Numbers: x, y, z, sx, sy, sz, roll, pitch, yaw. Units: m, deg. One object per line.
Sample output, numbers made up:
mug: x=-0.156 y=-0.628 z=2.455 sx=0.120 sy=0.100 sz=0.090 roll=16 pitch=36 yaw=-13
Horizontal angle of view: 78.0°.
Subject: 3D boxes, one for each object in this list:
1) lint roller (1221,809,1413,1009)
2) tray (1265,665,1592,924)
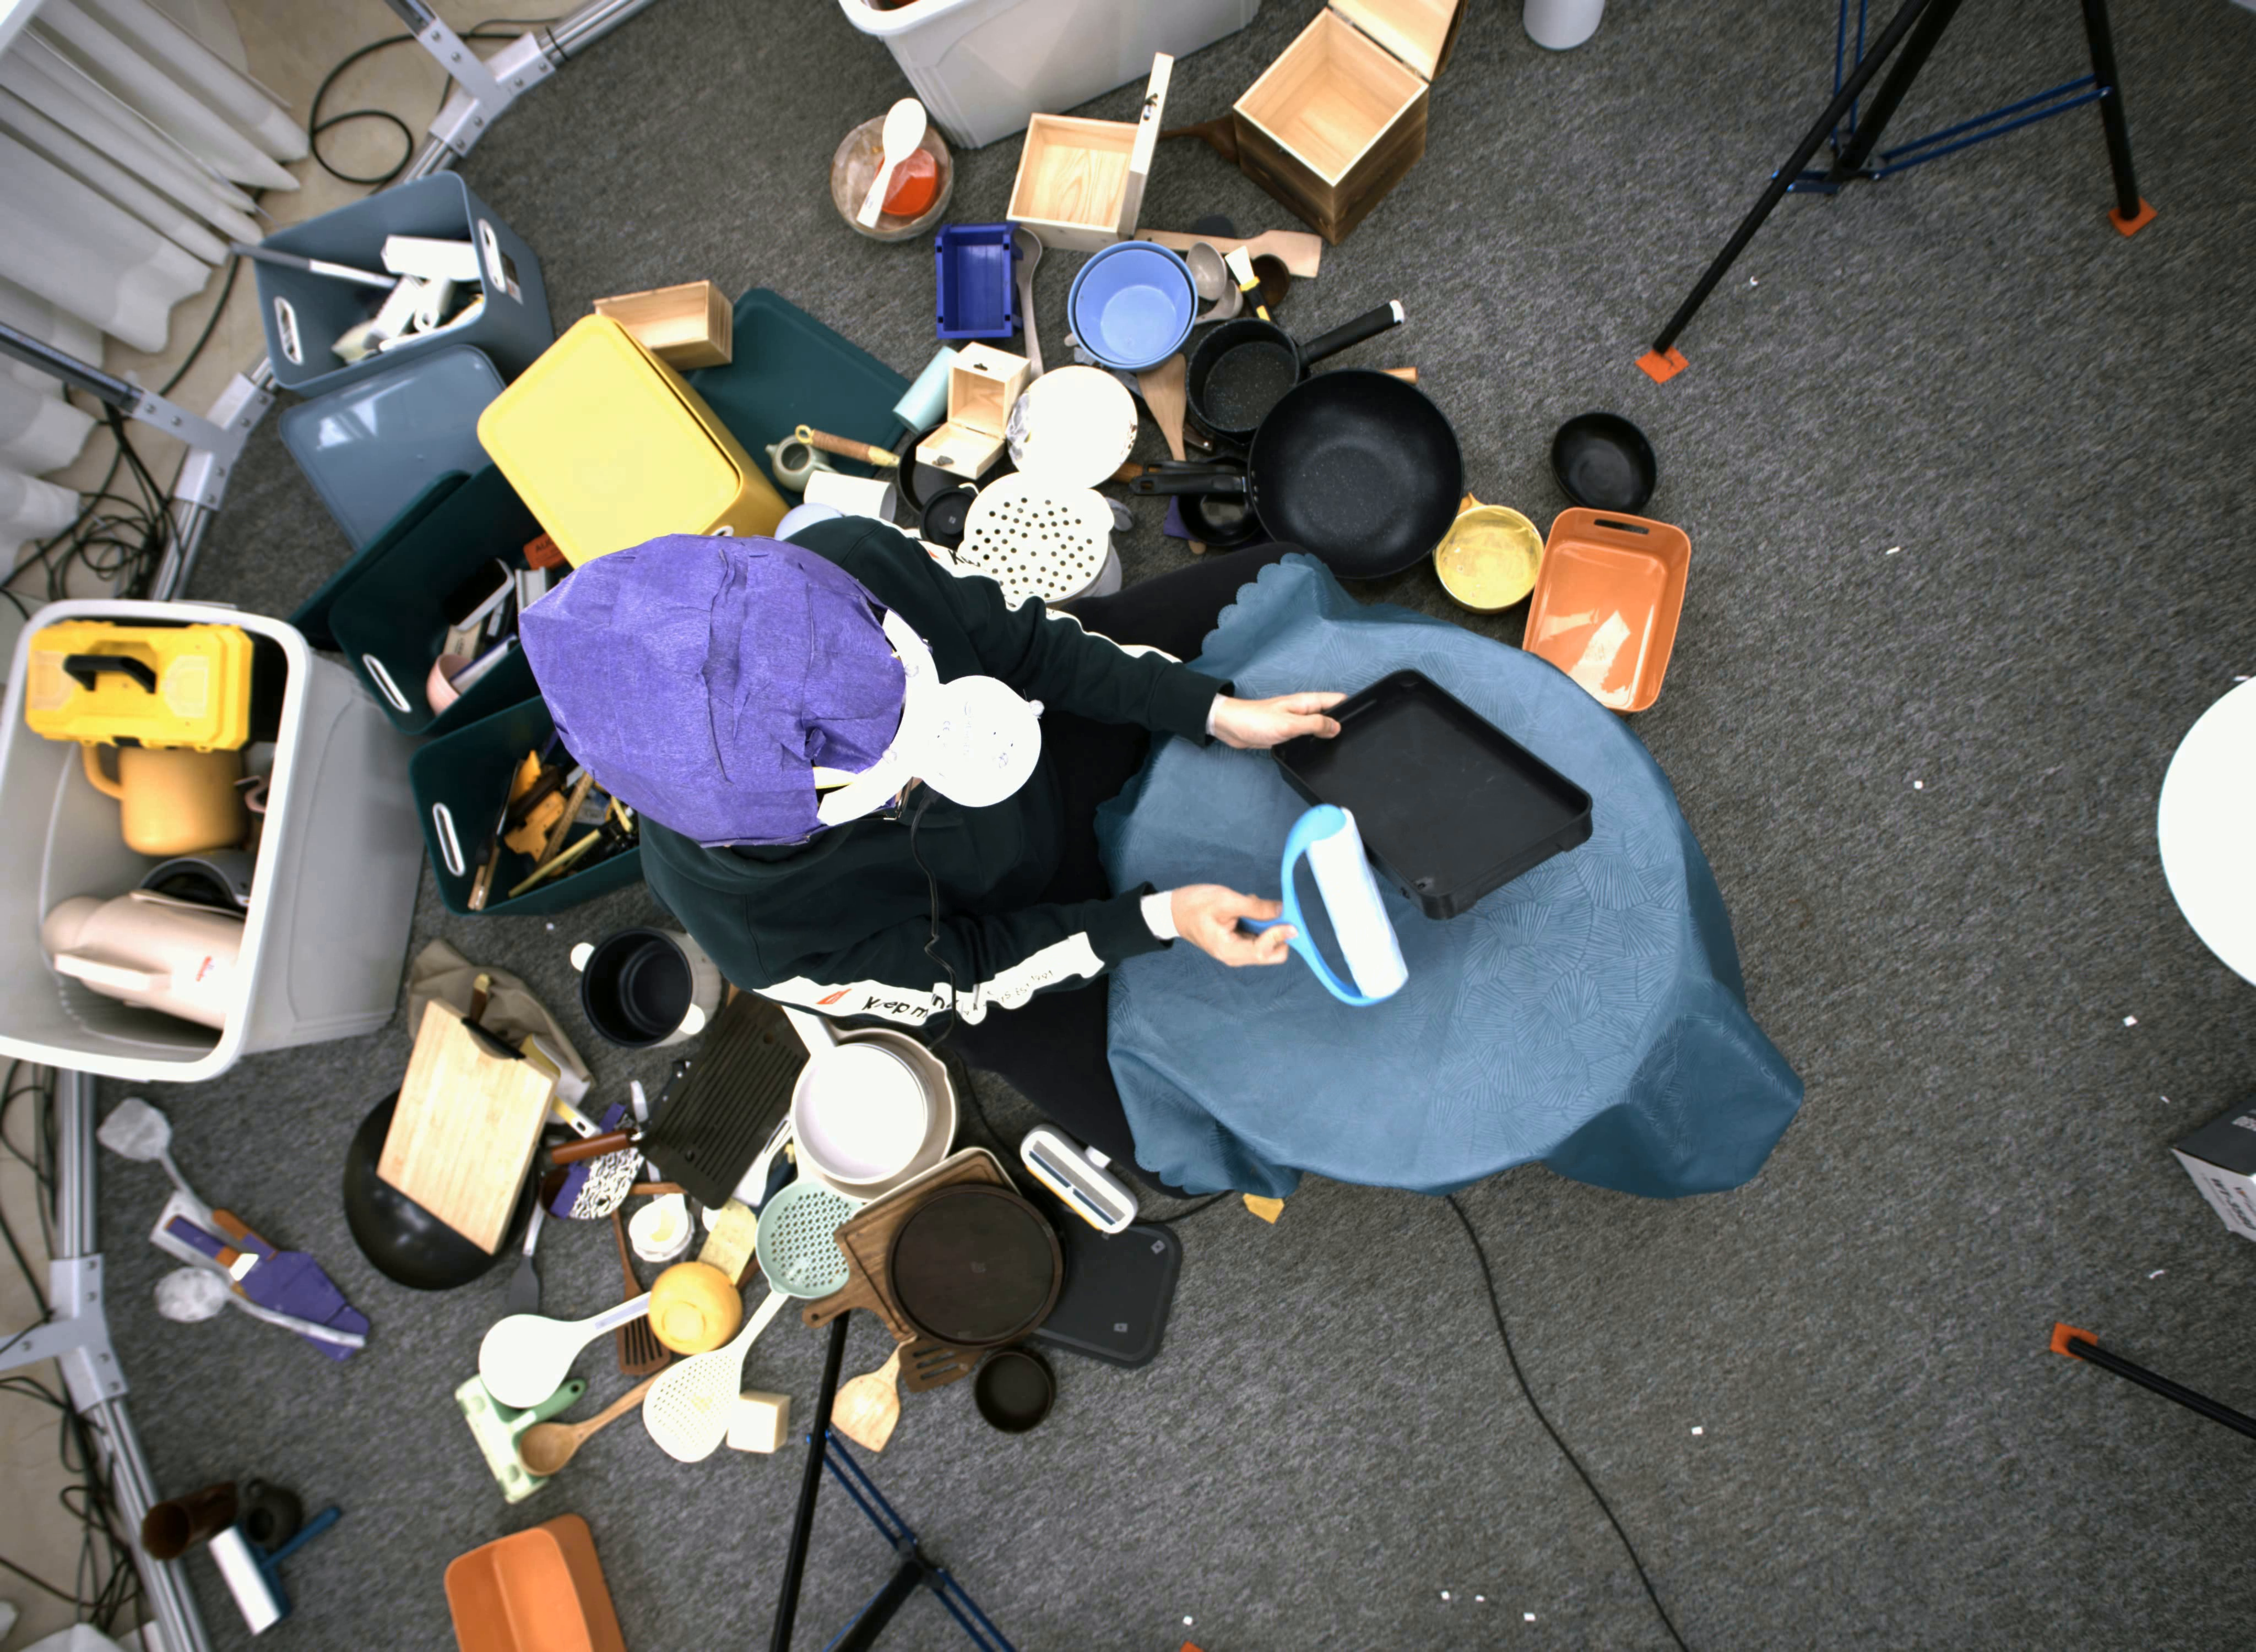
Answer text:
lint roller: x=0.166 y=0.087 z=1.333 sx=0.182 sy=0.066 sz=0.233 roll=-8 pitch=127 yaw=30
tray: x=0.281 y=-0.041 z=1.327 sx=0.184 sy=0.038 sz=0.313 roll=-31 pitch=40 yaw=-6
